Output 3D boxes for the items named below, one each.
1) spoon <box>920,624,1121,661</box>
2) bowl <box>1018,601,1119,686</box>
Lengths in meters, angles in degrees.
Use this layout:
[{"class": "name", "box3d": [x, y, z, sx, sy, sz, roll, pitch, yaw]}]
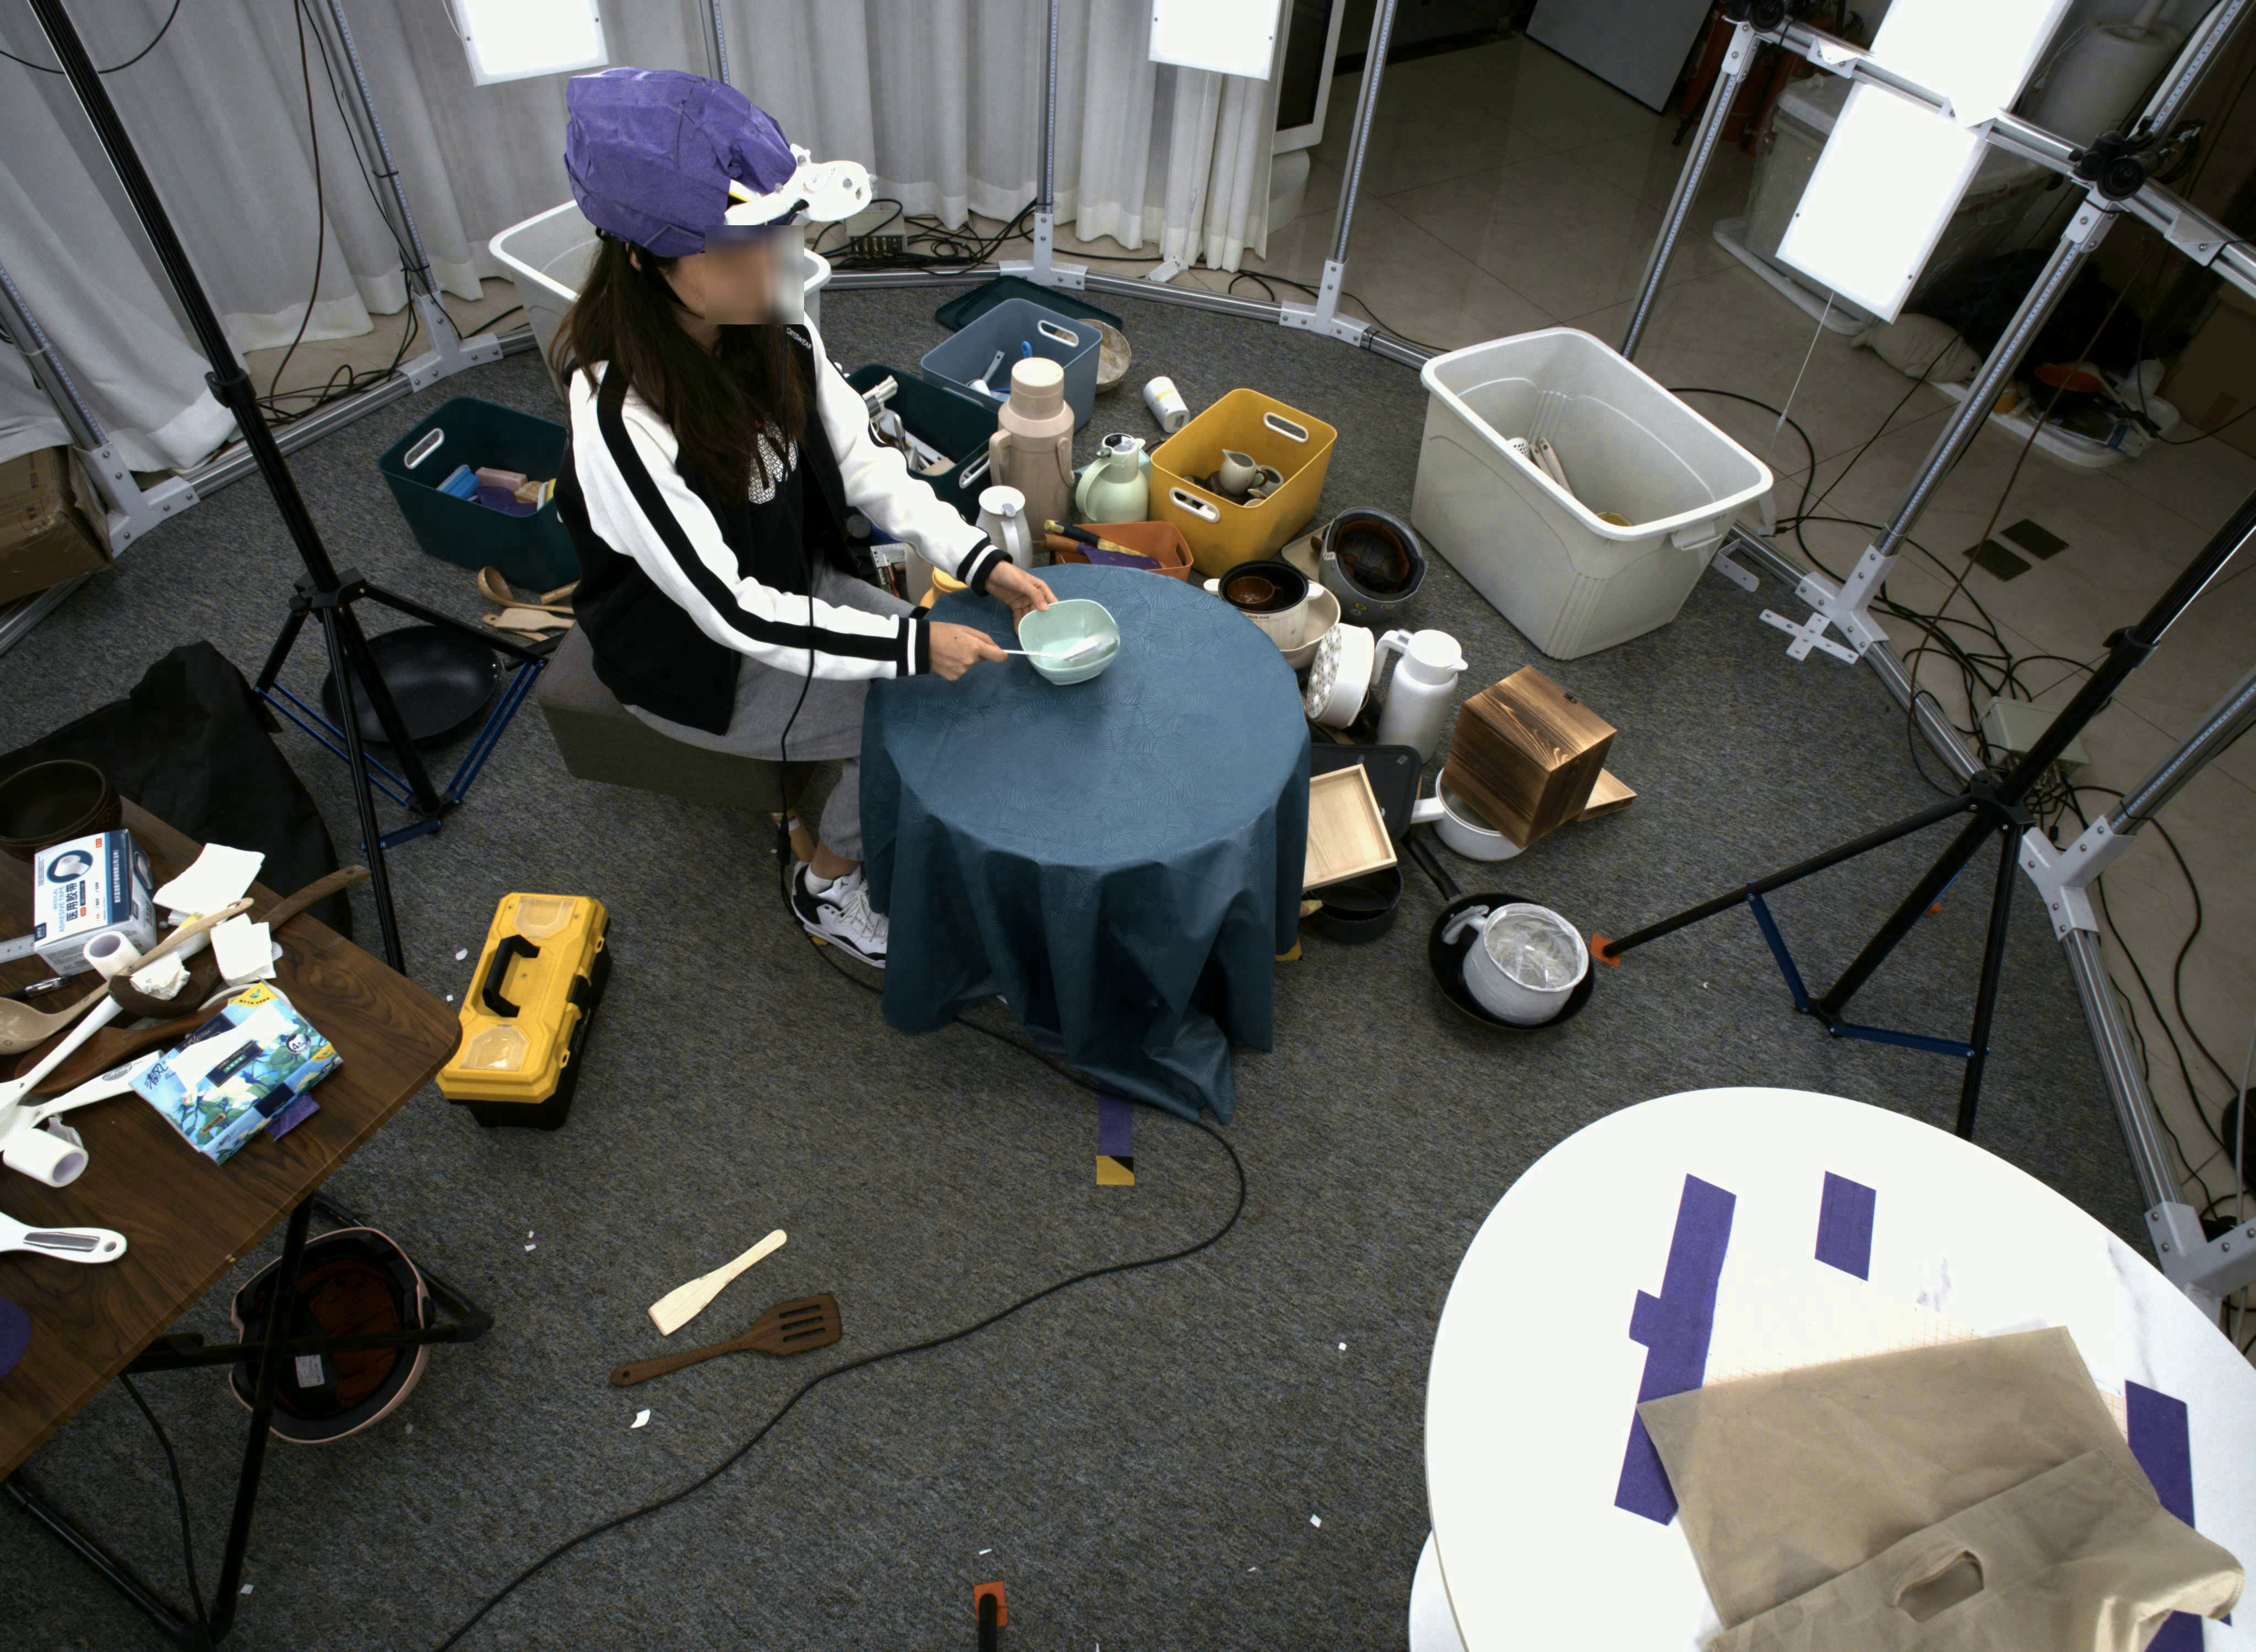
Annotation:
[{"class": "spoon", "box3d": [-0.150, -0.269, 1.796, 0.277, 0.059, 0.101, 7, 12, 1]}, {"class": "bowl", "box3d": [-0.084, -0.254, 1.846, 0.151, 0.057, 0.155, -1, 50, 1]}]
